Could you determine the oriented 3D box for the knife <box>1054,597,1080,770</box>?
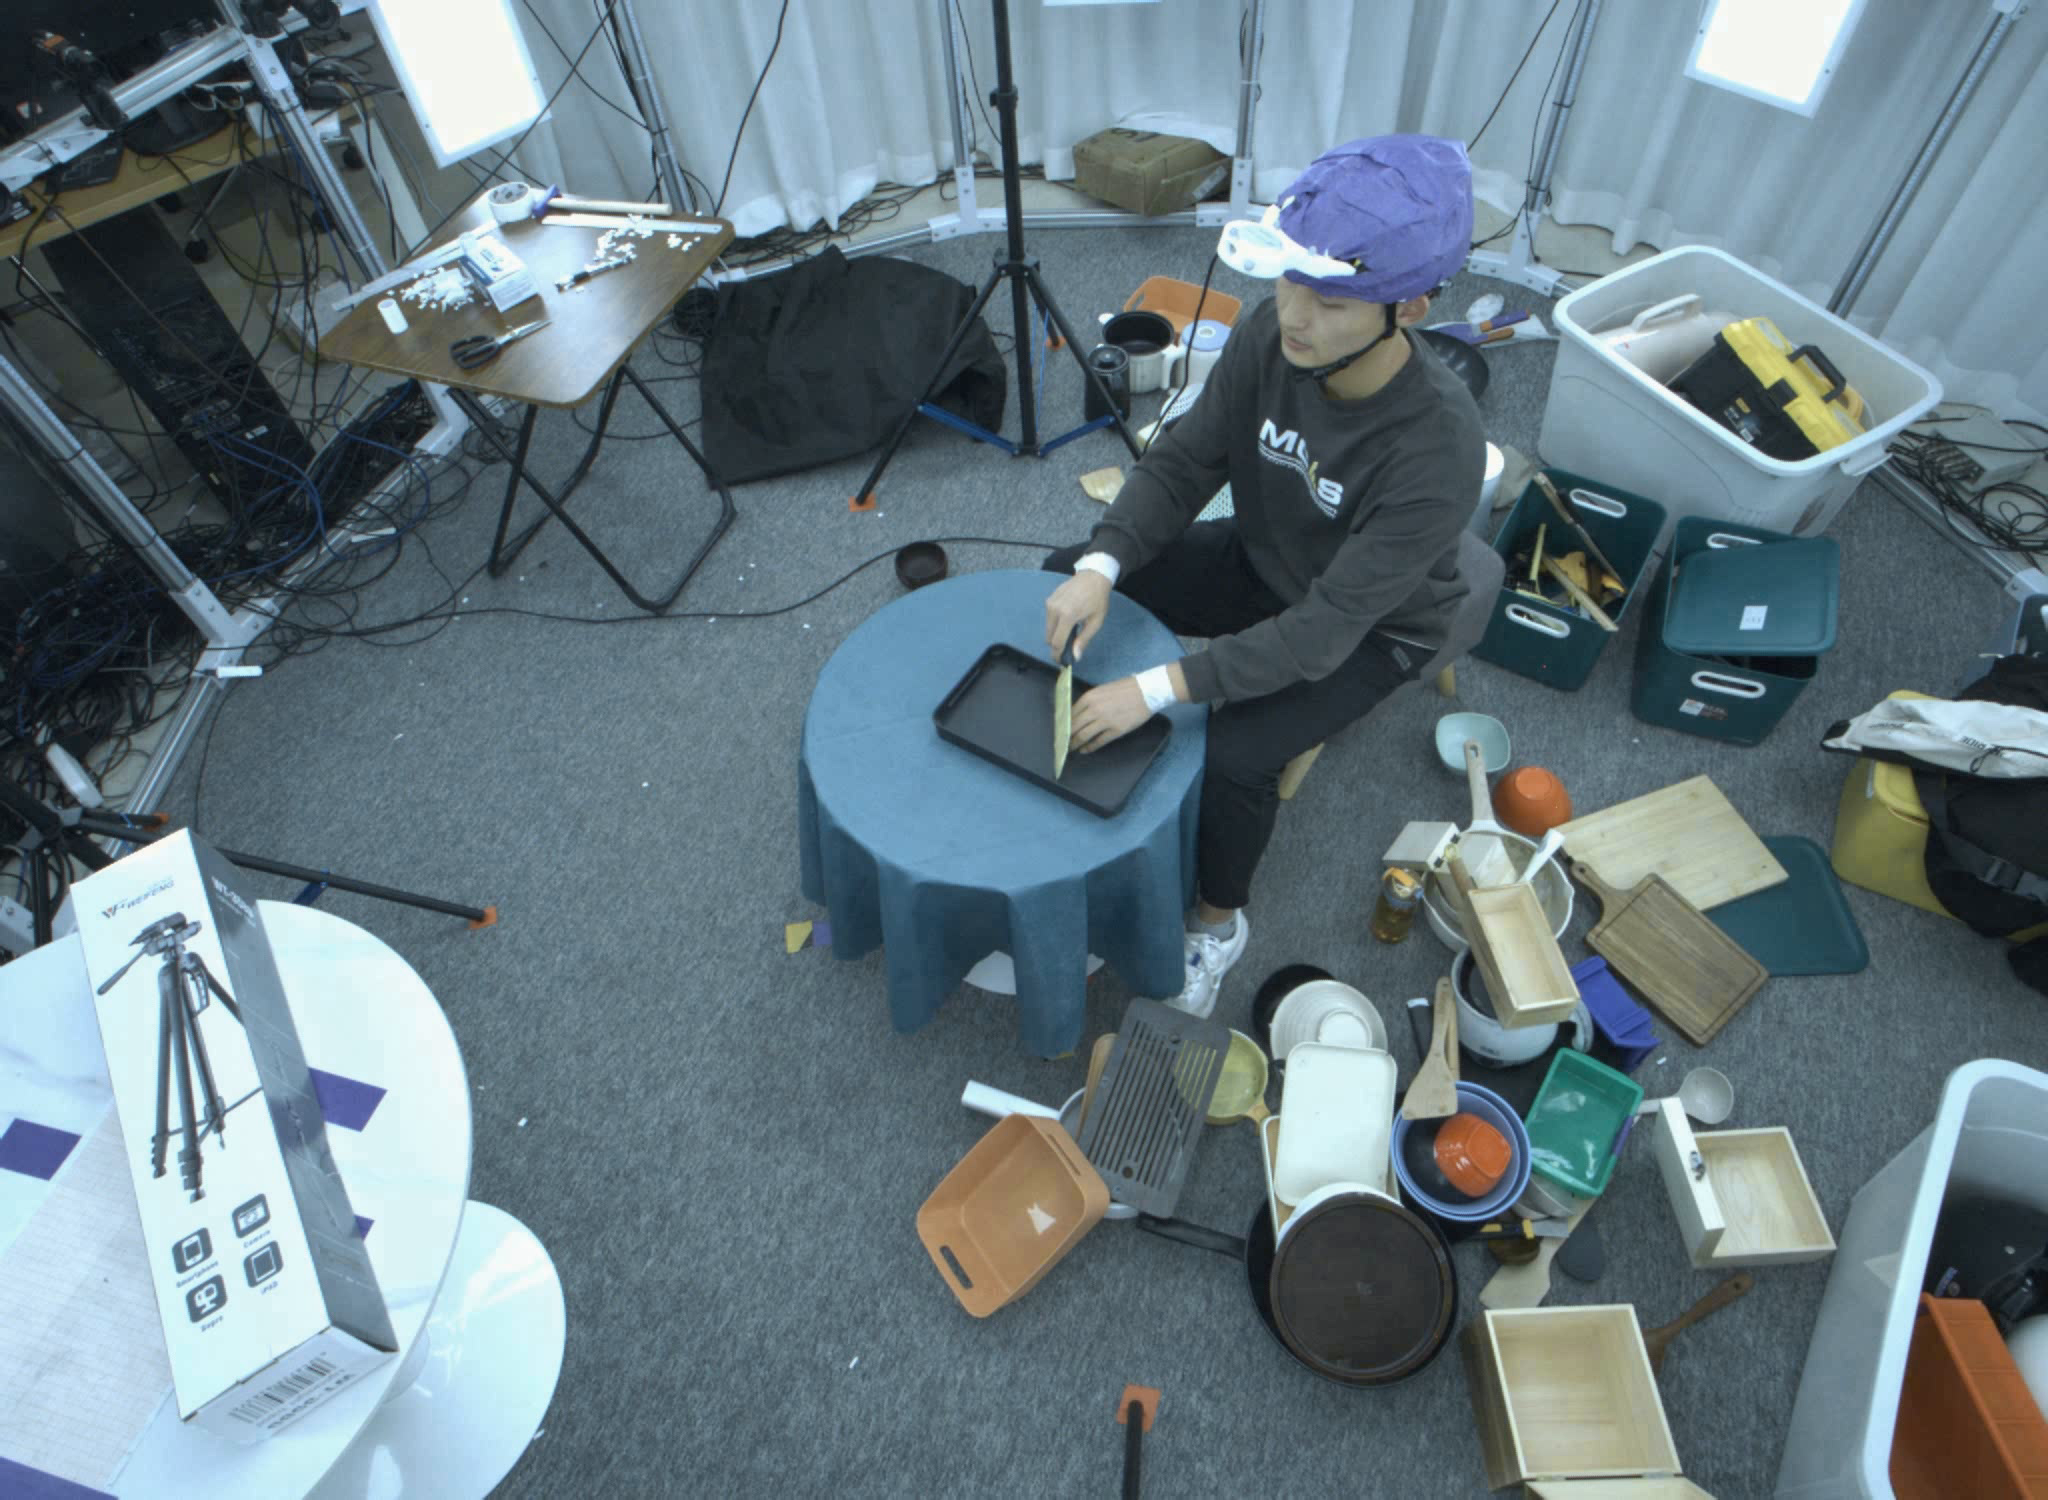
[{"bbox_3d":[0.059,-0.098,1.794,0.027,0.081,0.287,12,60,-14],"label":"knife"}]

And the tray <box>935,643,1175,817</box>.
[{"bbox_3d":[0.044,-0.033,1.794,0.313,0.037,0.185,25,59,18],"label":"tray"}]
